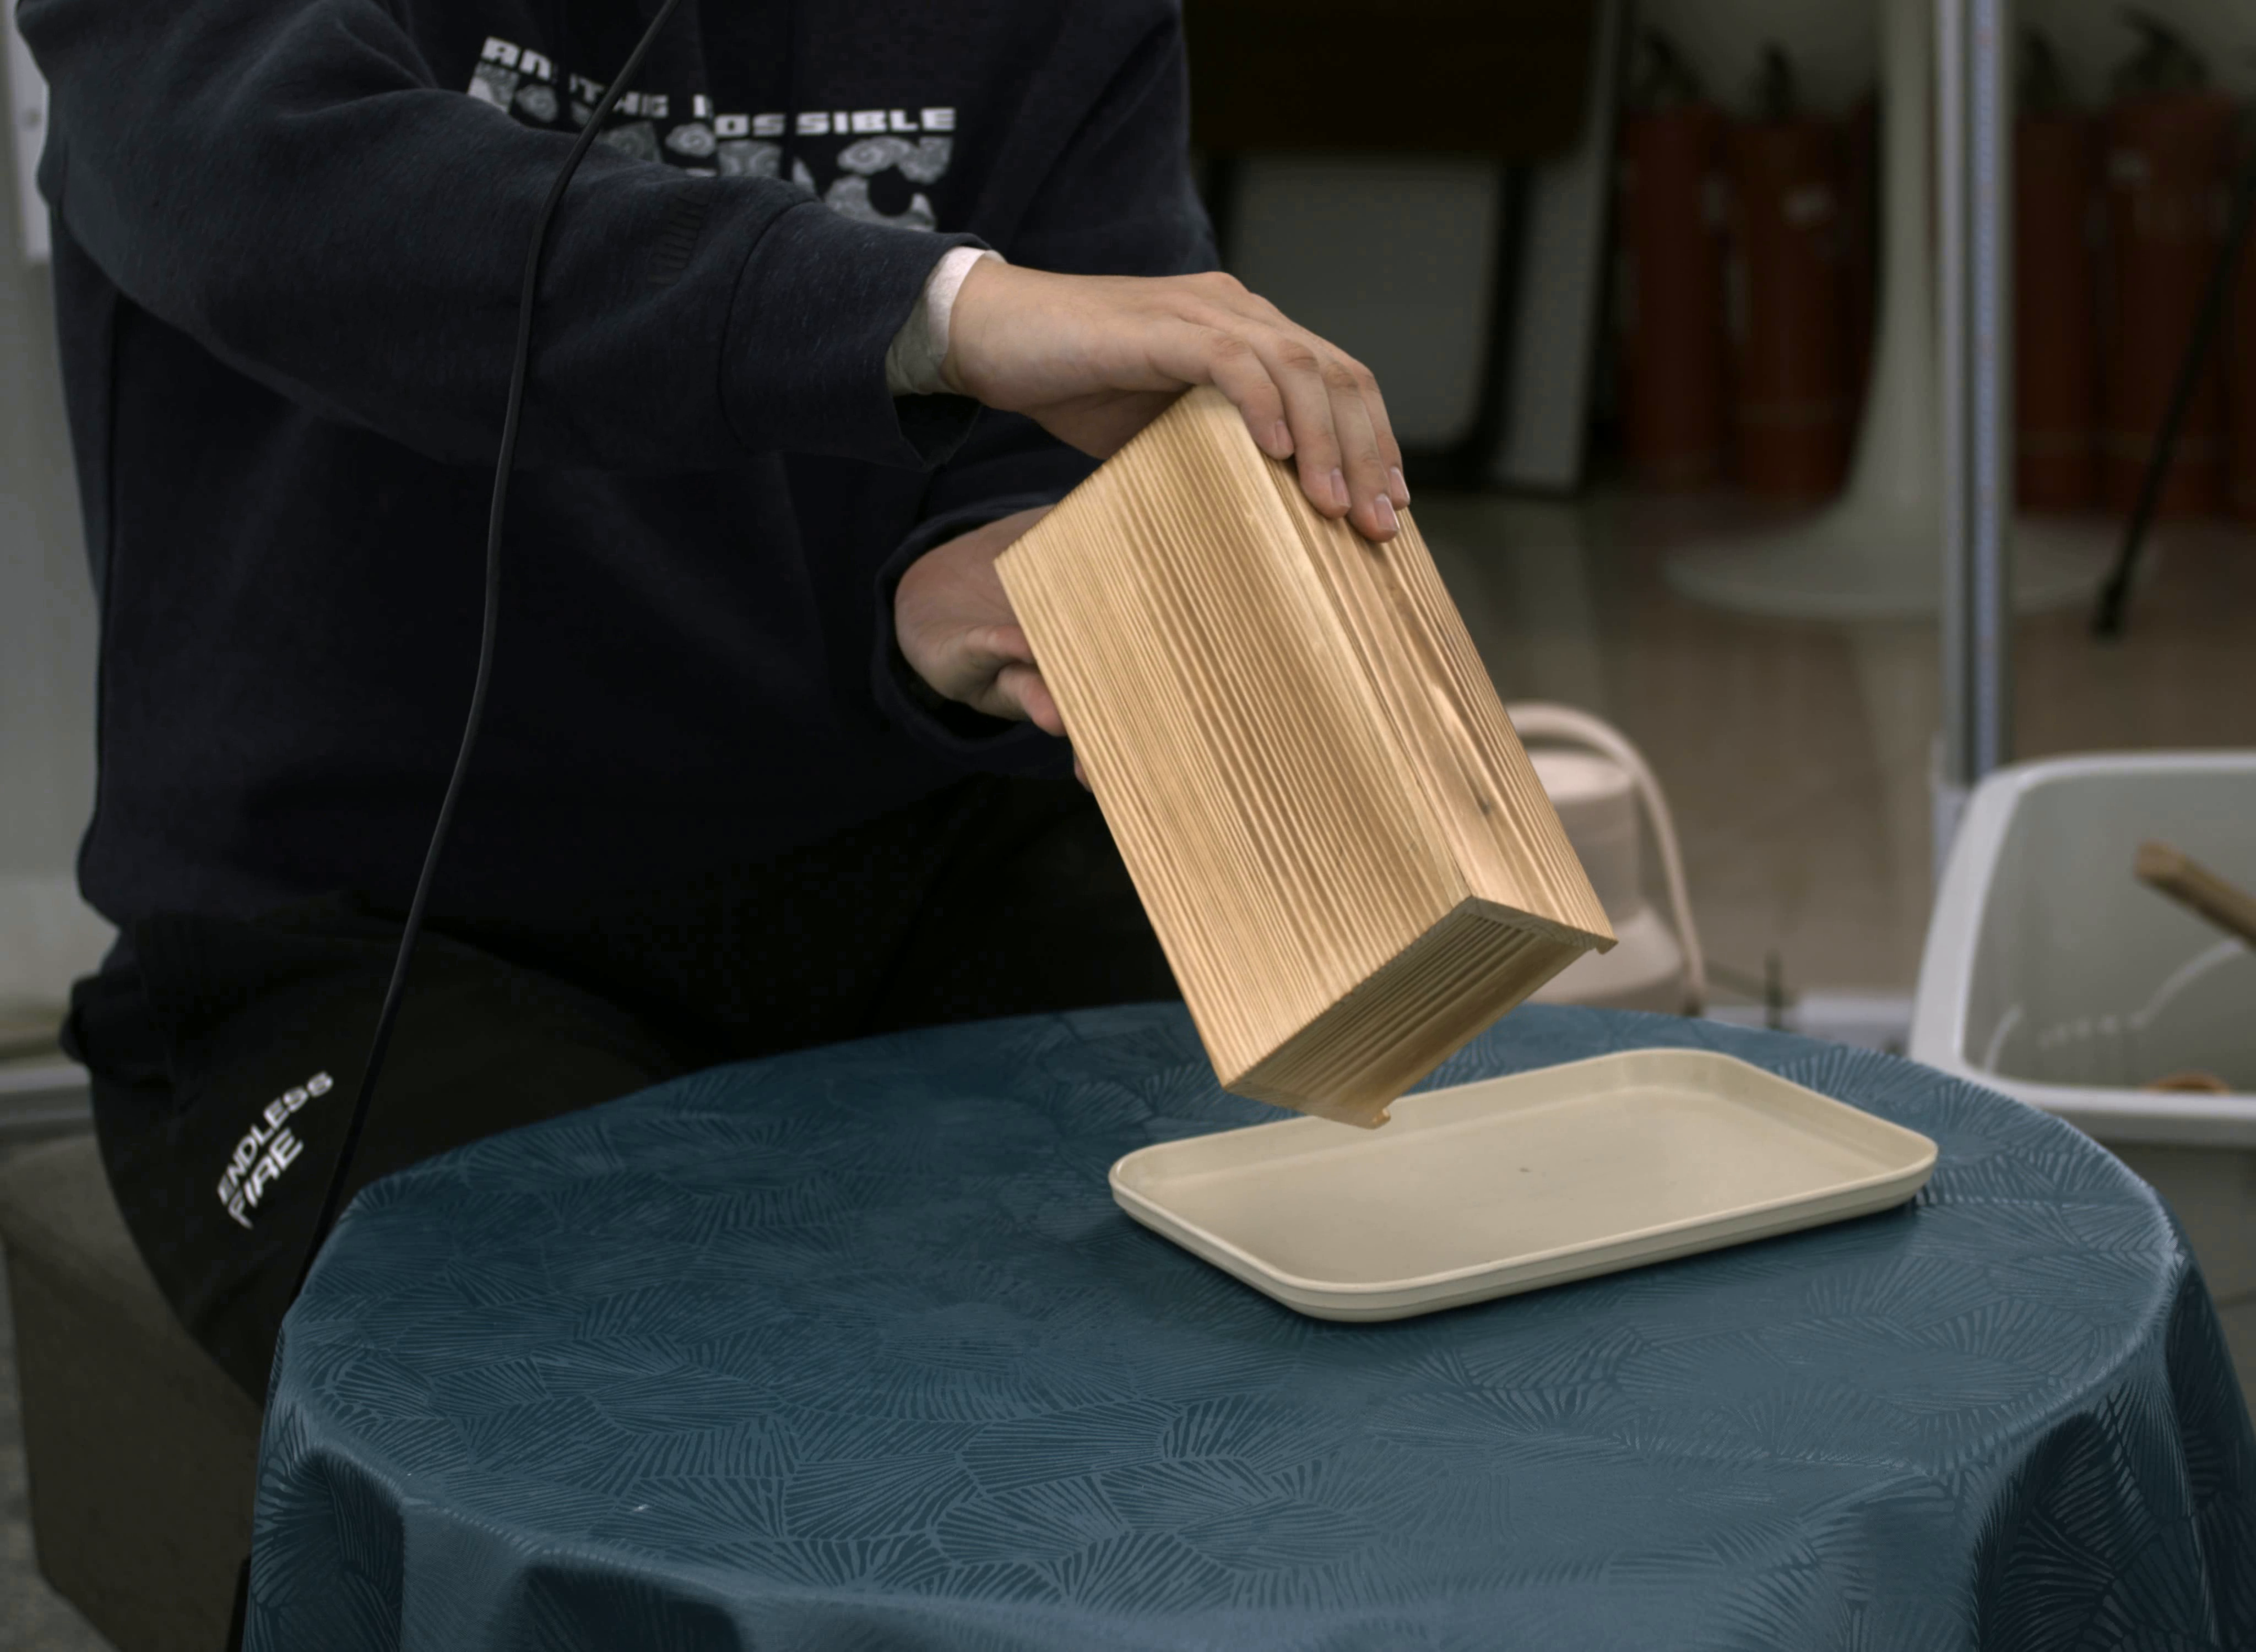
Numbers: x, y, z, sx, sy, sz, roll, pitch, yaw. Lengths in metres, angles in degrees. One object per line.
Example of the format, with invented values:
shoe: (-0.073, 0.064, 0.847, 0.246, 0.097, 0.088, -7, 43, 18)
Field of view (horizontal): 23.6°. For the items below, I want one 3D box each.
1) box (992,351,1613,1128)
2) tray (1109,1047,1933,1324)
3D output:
box: (0.051, -0.028, 1.682, 0.108, 0.214, 0.078, -40, -35, 26)
tray: (0.126, 0.115, 1.729, 0.234, 0.017, 0.173, -11, 15, -24)
